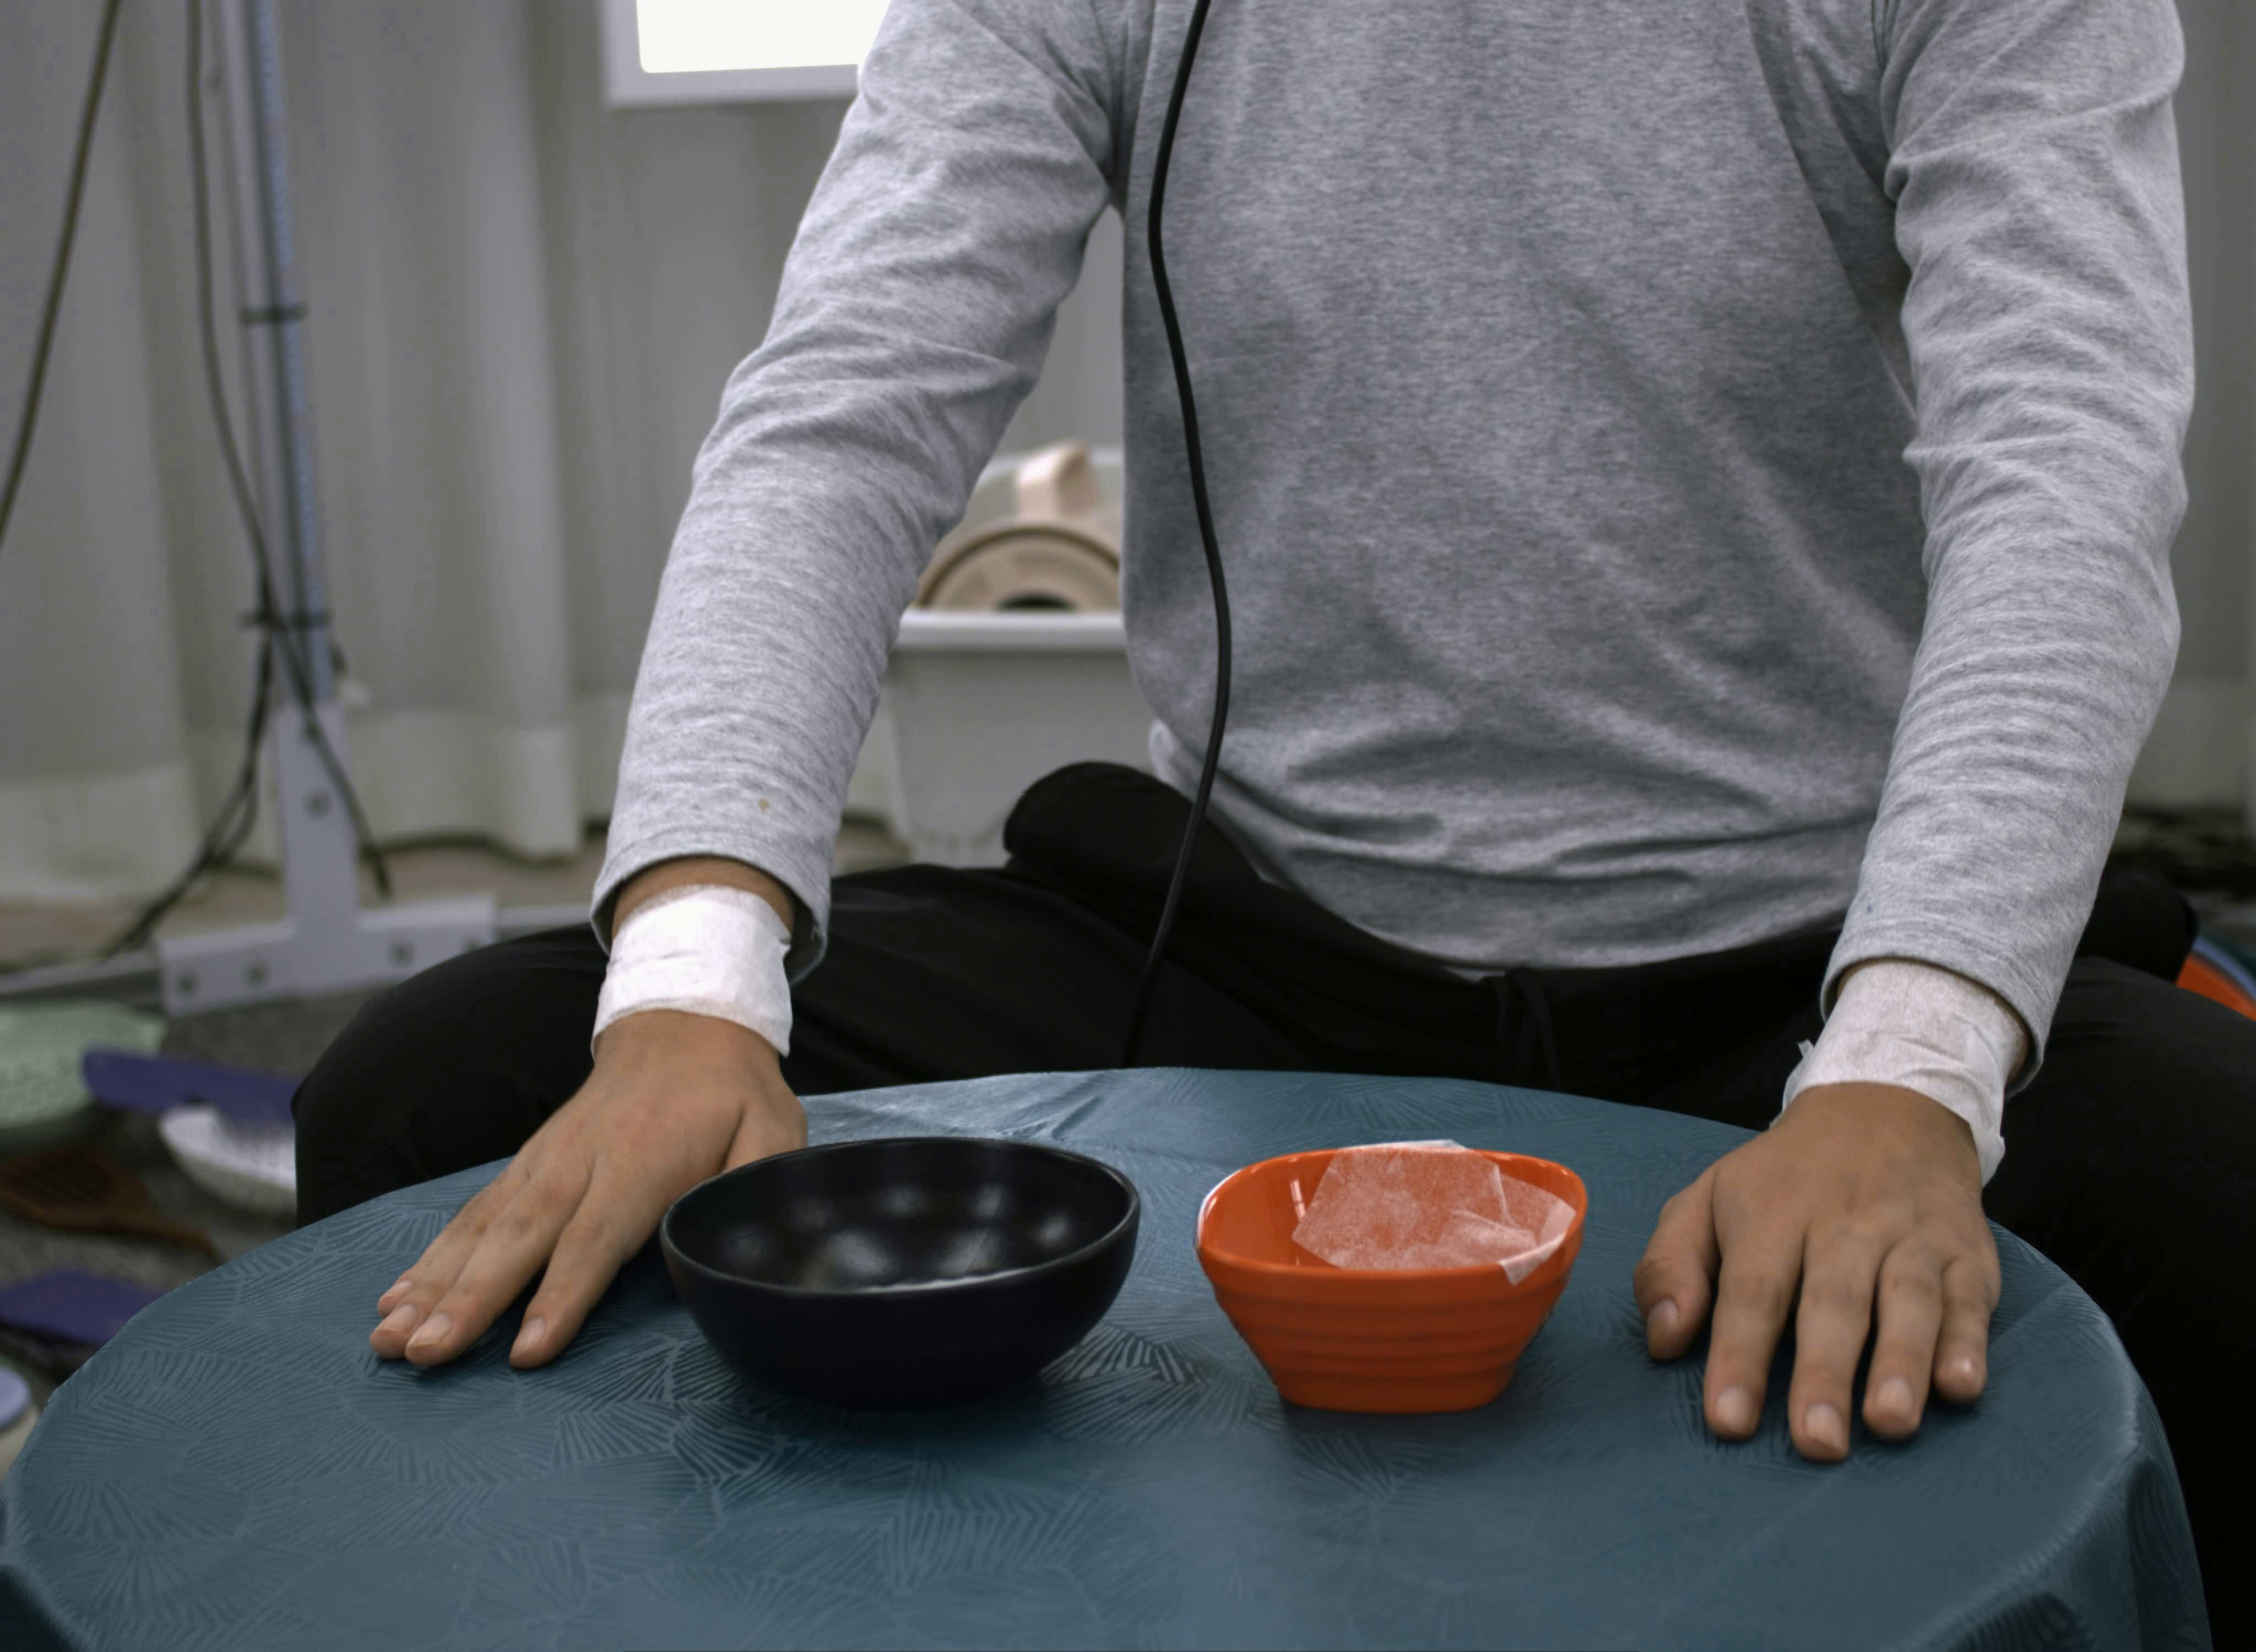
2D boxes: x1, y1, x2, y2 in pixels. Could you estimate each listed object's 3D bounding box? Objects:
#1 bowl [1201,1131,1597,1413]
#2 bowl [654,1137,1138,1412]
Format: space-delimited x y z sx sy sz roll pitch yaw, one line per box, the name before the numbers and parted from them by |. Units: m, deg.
bowl | 0.078 0.129 1.542 0.118 0.051 0.120 -5 18 1
bowl | -0.065 0.133 1.567 0.139 0.049 0.141 -1 14 0
